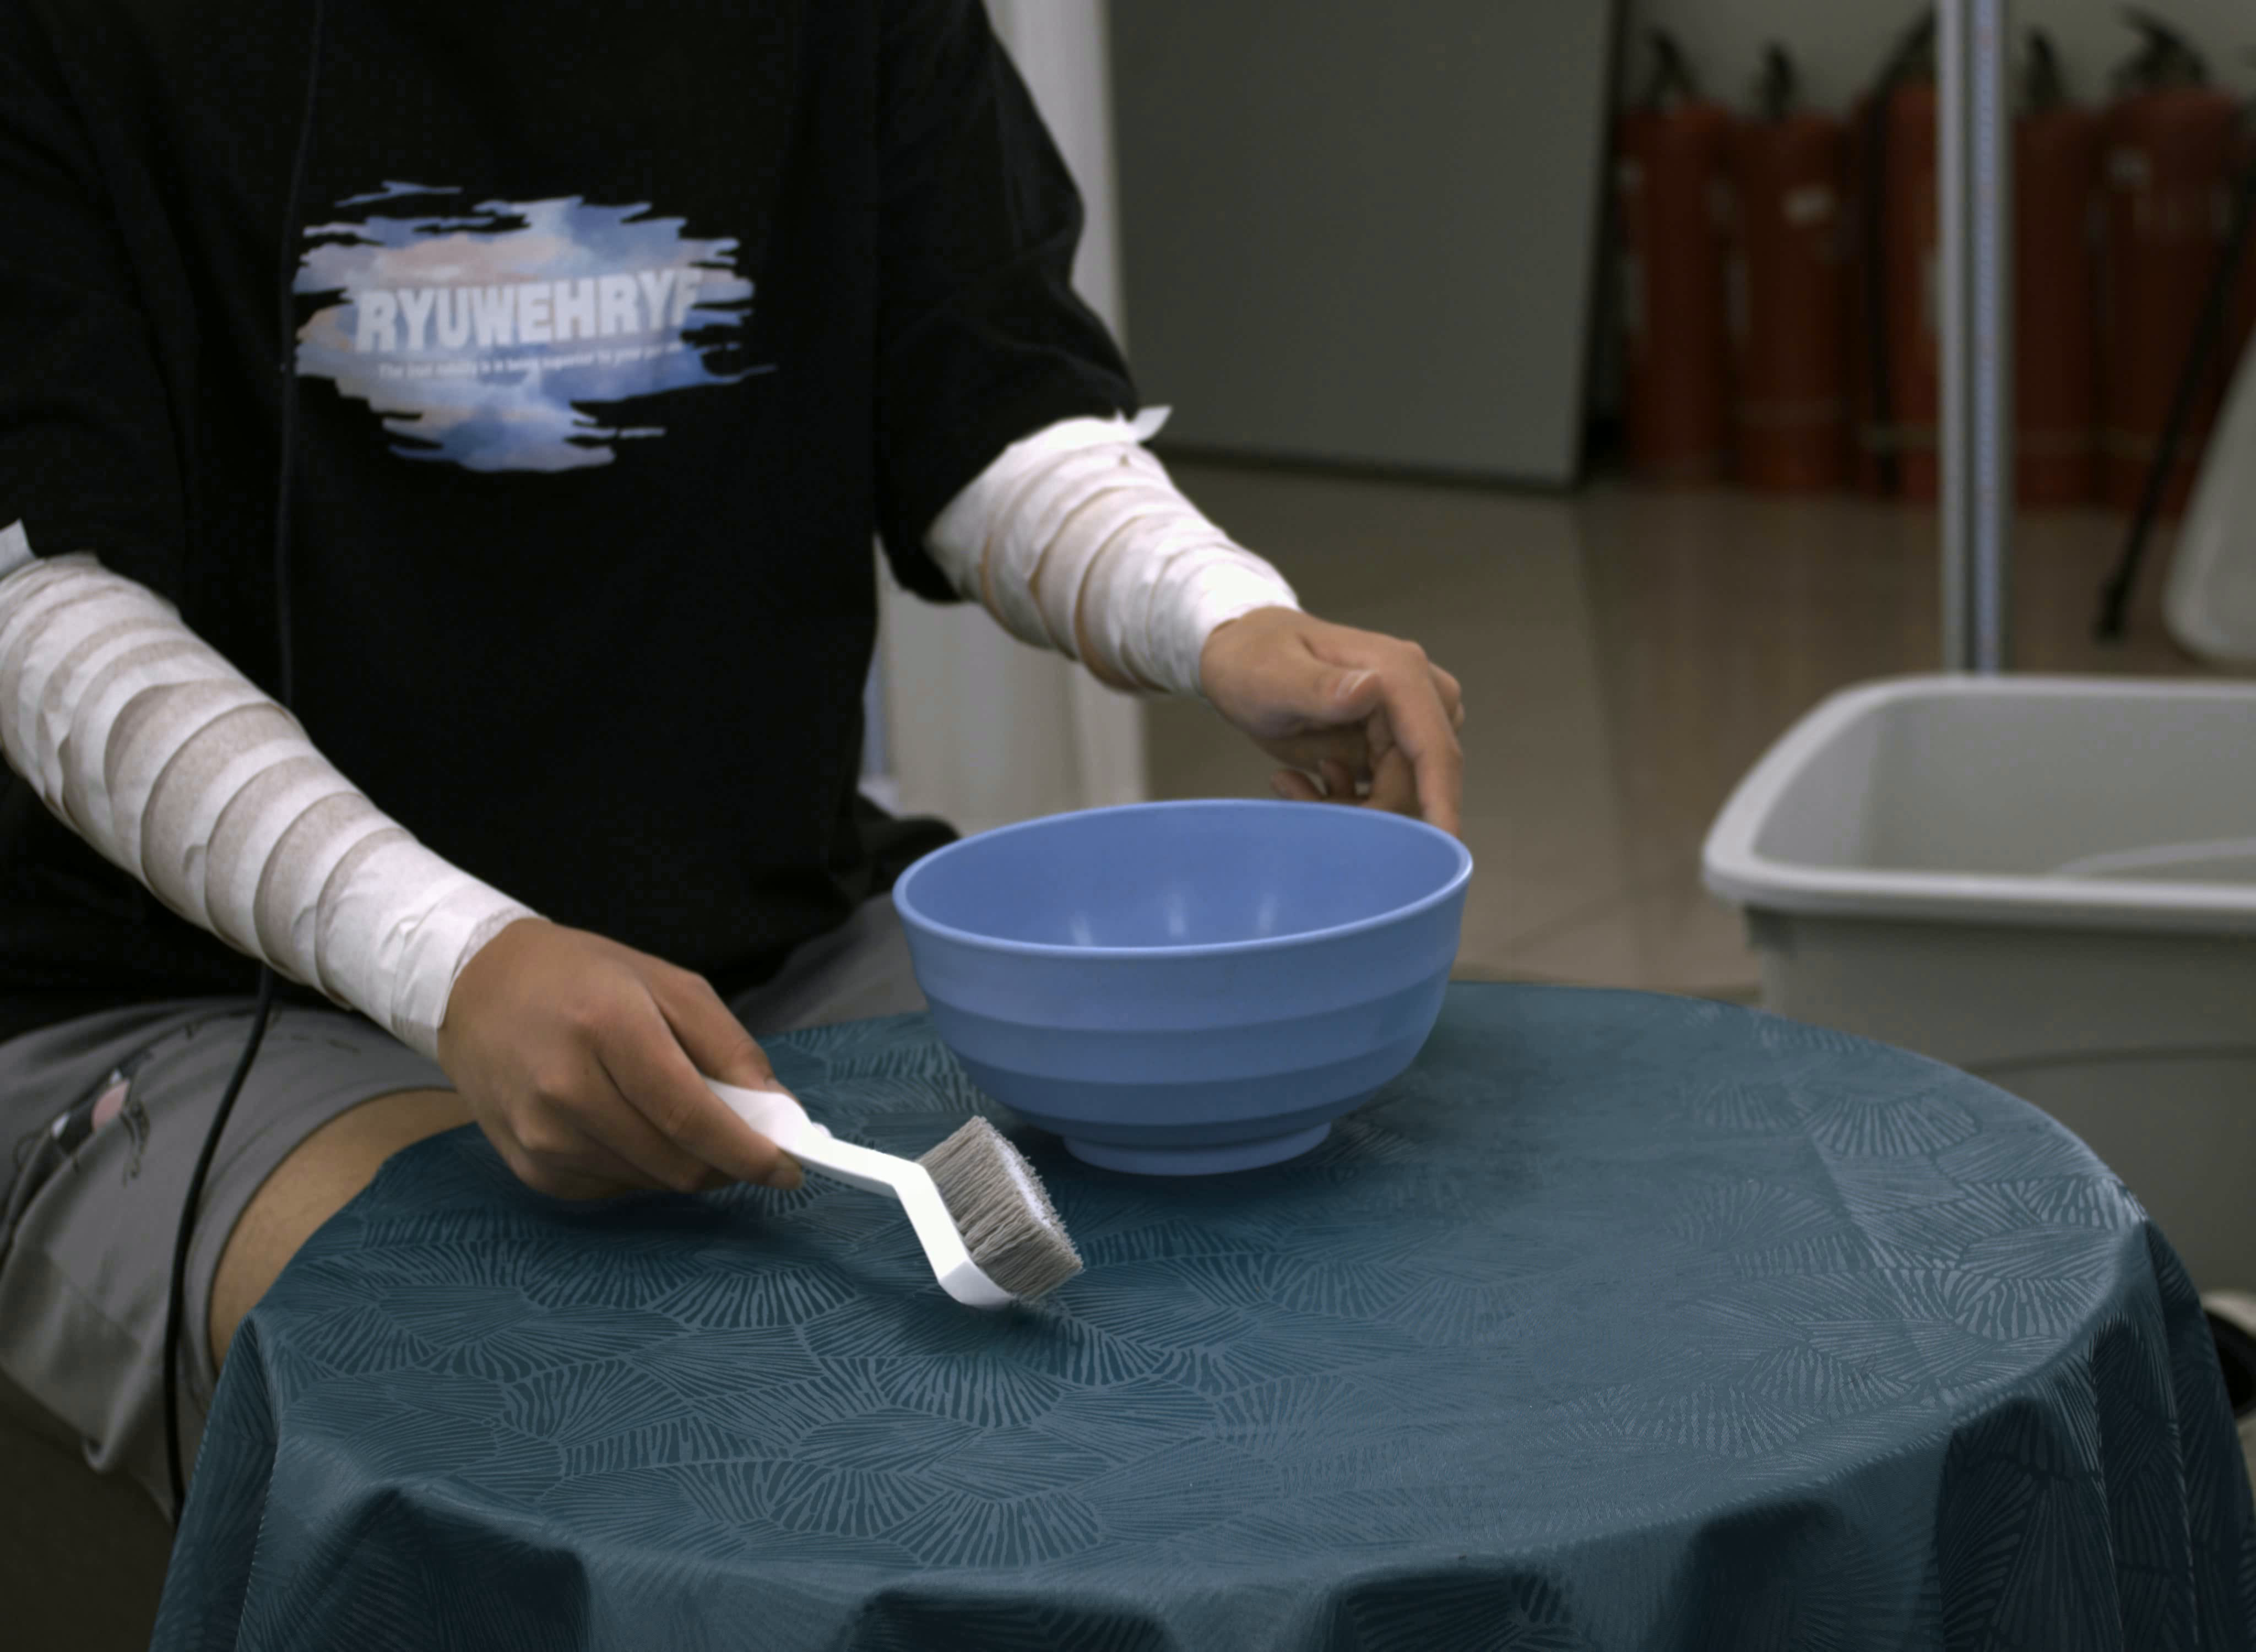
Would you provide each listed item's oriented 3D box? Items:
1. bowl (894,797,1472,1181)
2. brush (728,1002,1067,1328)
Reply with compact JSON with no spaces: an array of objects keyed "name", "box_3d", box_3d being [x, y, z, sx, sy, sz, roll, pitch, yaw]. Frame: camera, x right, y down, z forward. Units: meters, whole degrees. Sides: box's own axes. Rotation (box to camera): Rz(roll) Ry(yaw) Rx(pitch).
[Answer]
[{"name":"bowl","box_3d":[0.021,0.060,1.816,0.194,0.096,0.197,-4,14,0]},{"name":"brush","box_3d":[-0.075,0.090,1.729,0.034,0.050,0.246,30,7,-28]}]
